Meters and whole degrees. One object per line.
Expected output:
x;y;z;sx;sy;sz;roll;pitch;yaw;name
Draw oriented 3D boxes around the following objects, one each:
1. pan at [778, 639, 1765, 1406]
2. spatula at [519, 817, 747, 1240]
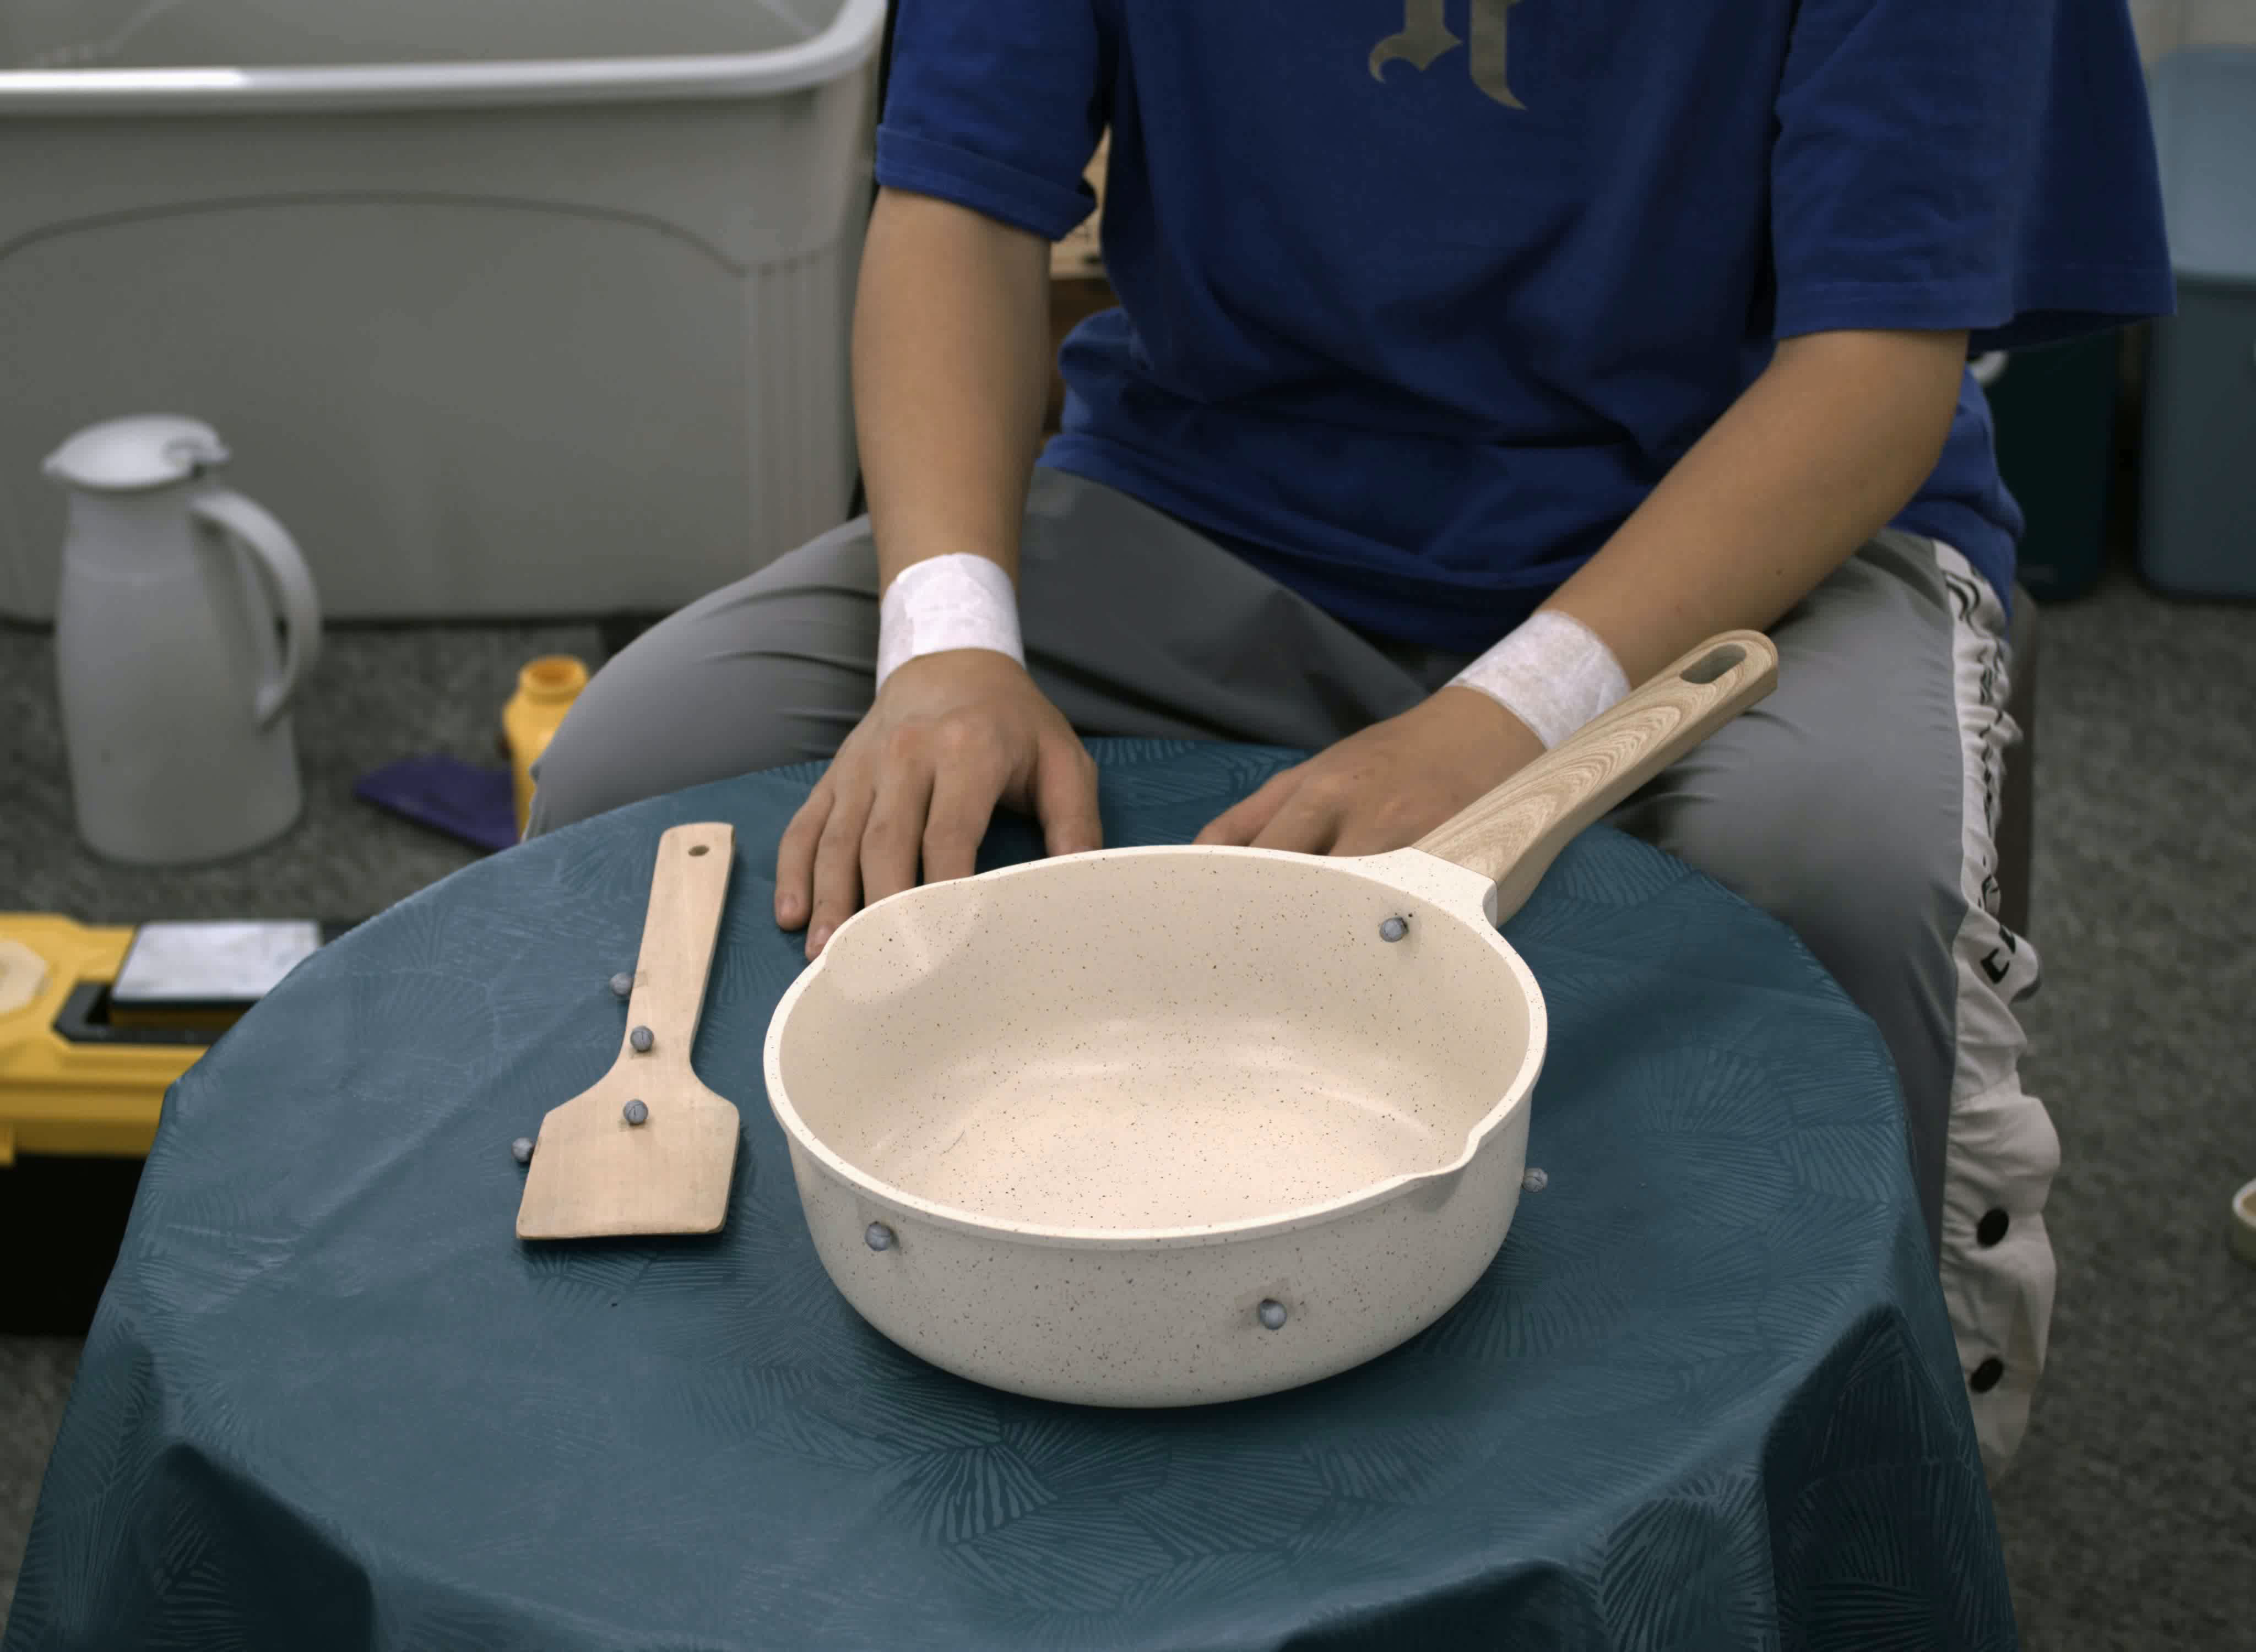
0.077;0.060;1.865;0.262;0.101;0.440;19;34;39;pan
-0.163;0.068;1.971;0.072;0.010;0.297;-3;28;3;spatula
